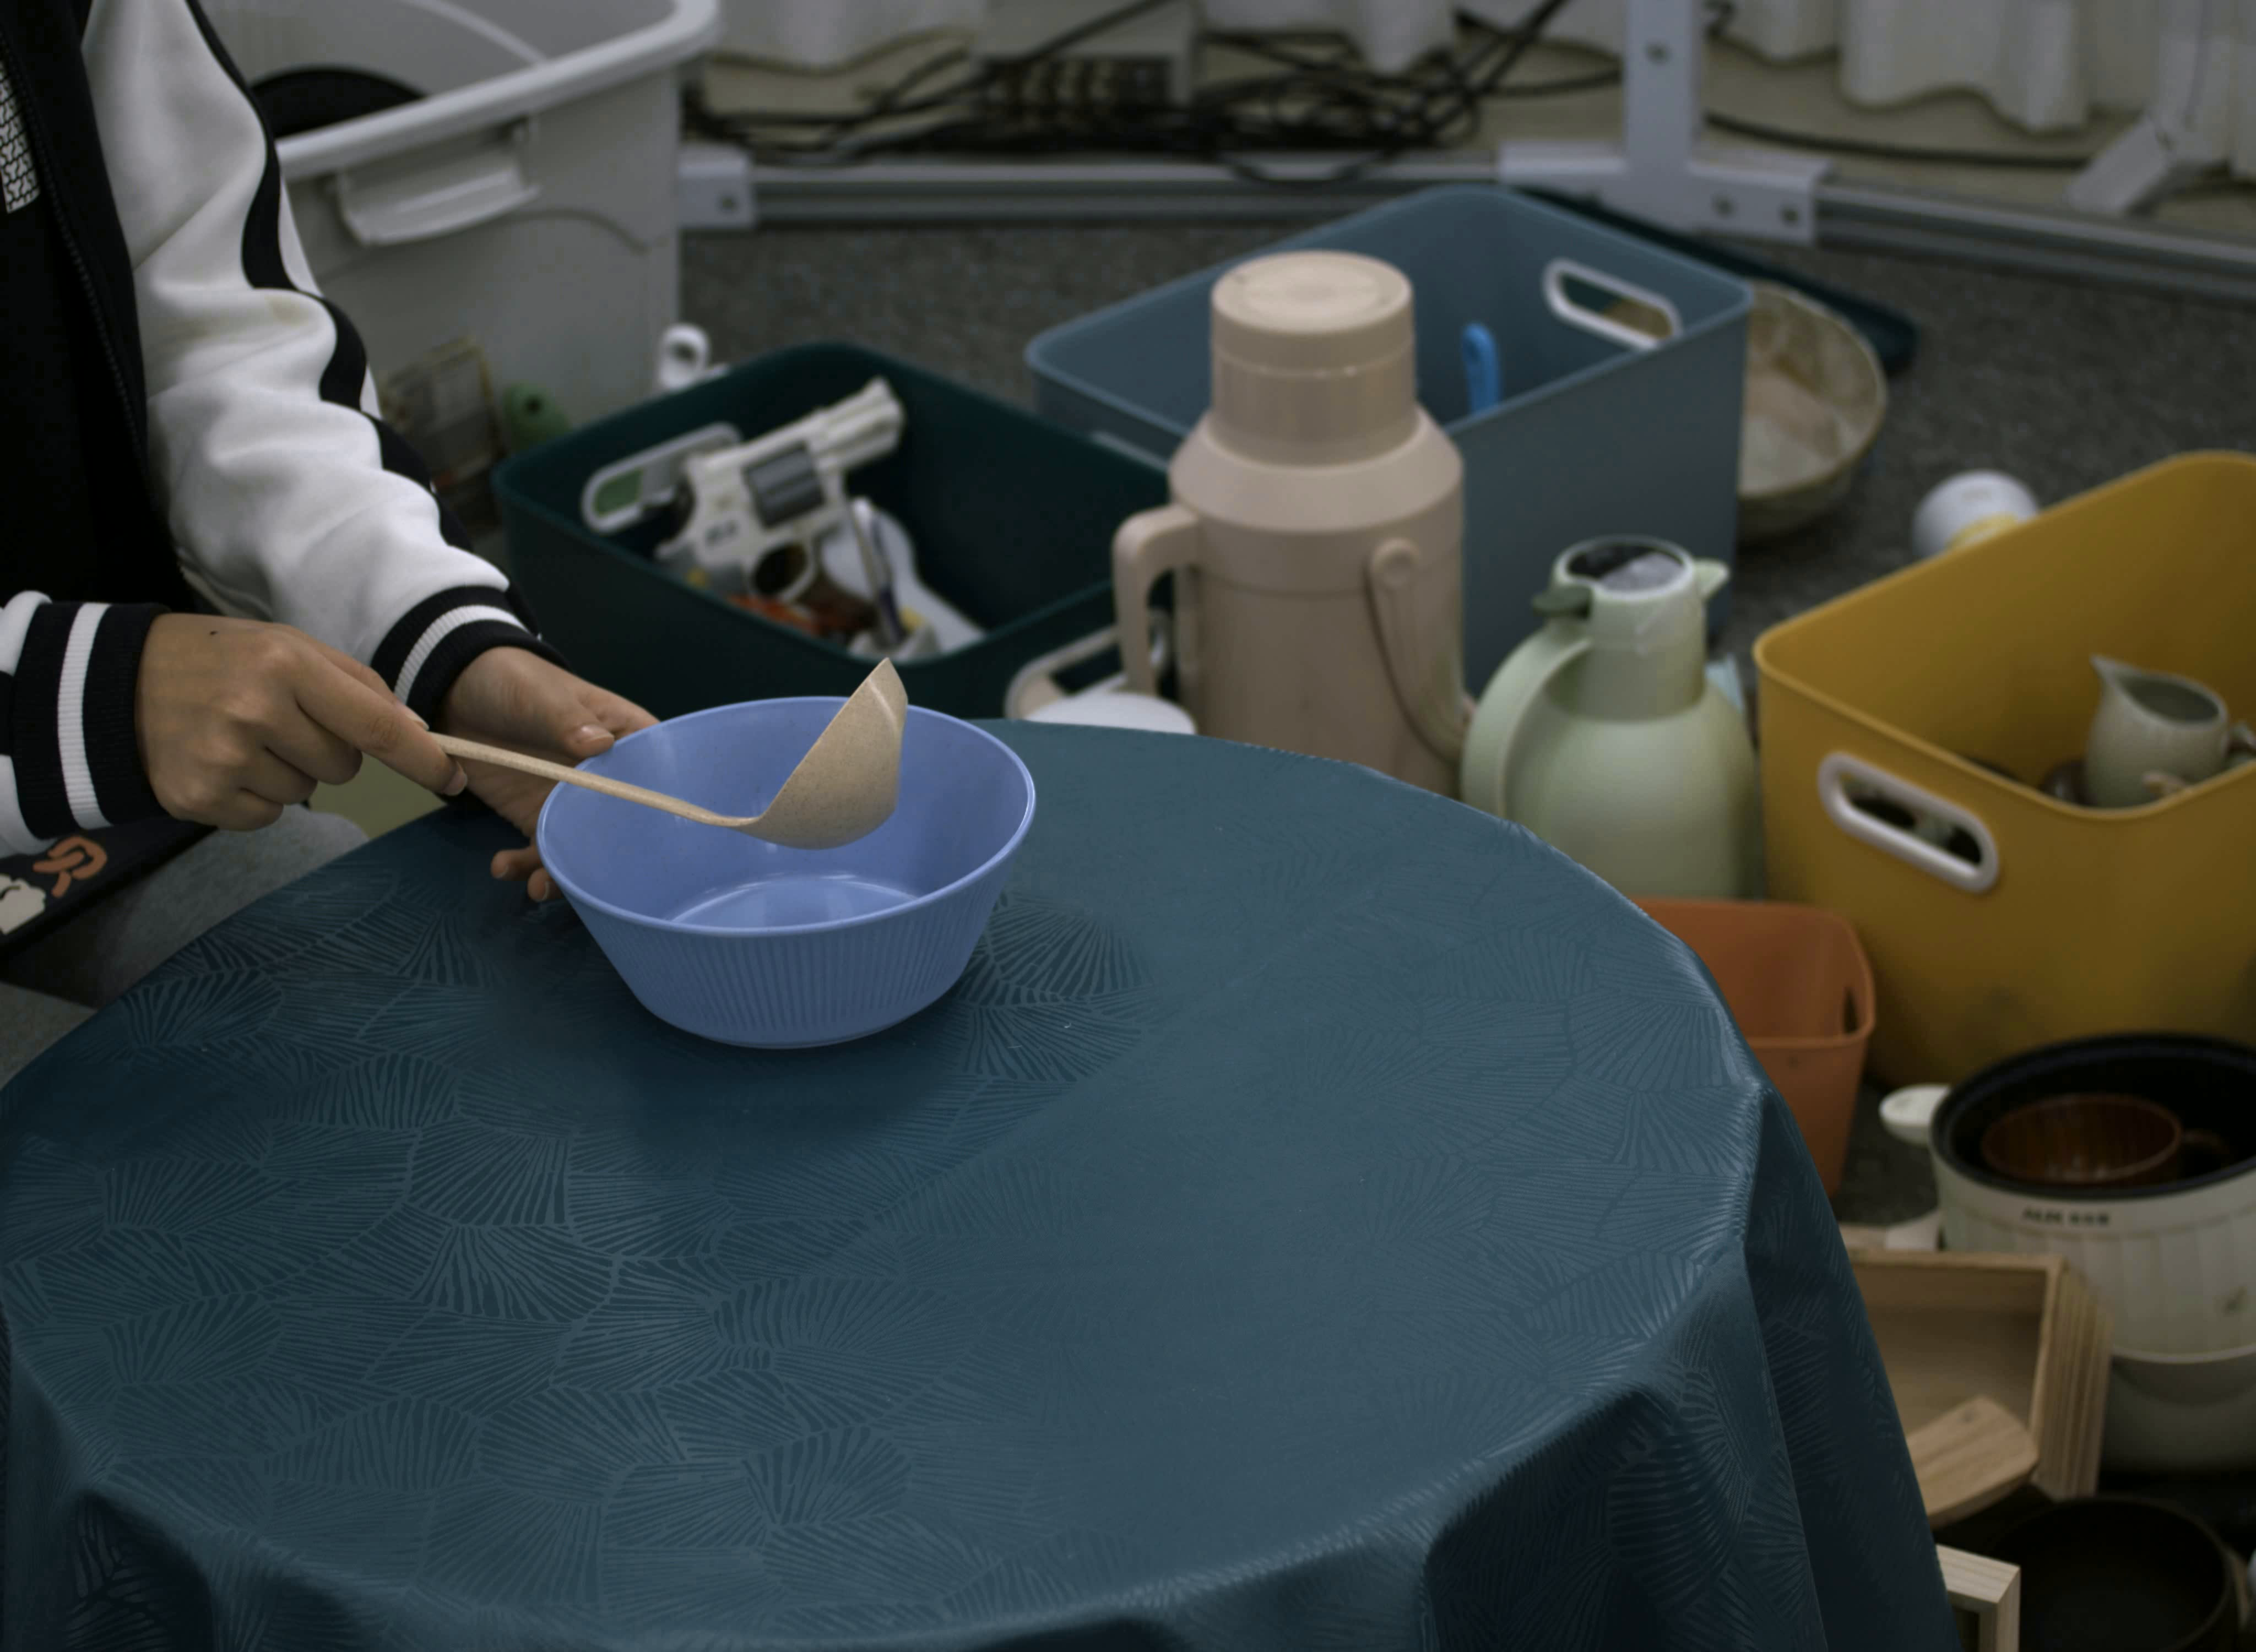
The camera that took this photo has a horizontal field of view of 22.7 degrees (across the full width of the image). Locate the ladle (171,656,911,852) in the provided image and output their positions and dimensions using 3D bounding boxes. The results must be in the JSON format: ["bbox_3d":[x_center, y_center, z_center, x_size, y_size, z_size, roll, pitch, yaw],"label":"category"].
[{"bbox_3d":[-0.200,-0.045,1.951,0.253,0.073,0.072,11,0,-1],"label":"ladle"}]

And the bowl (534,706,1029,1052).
[{"bbox_3d":[-0.120,0.024,1.987,0.175,0.069,0.179,-2,27,1],"label":"bowl"}]
